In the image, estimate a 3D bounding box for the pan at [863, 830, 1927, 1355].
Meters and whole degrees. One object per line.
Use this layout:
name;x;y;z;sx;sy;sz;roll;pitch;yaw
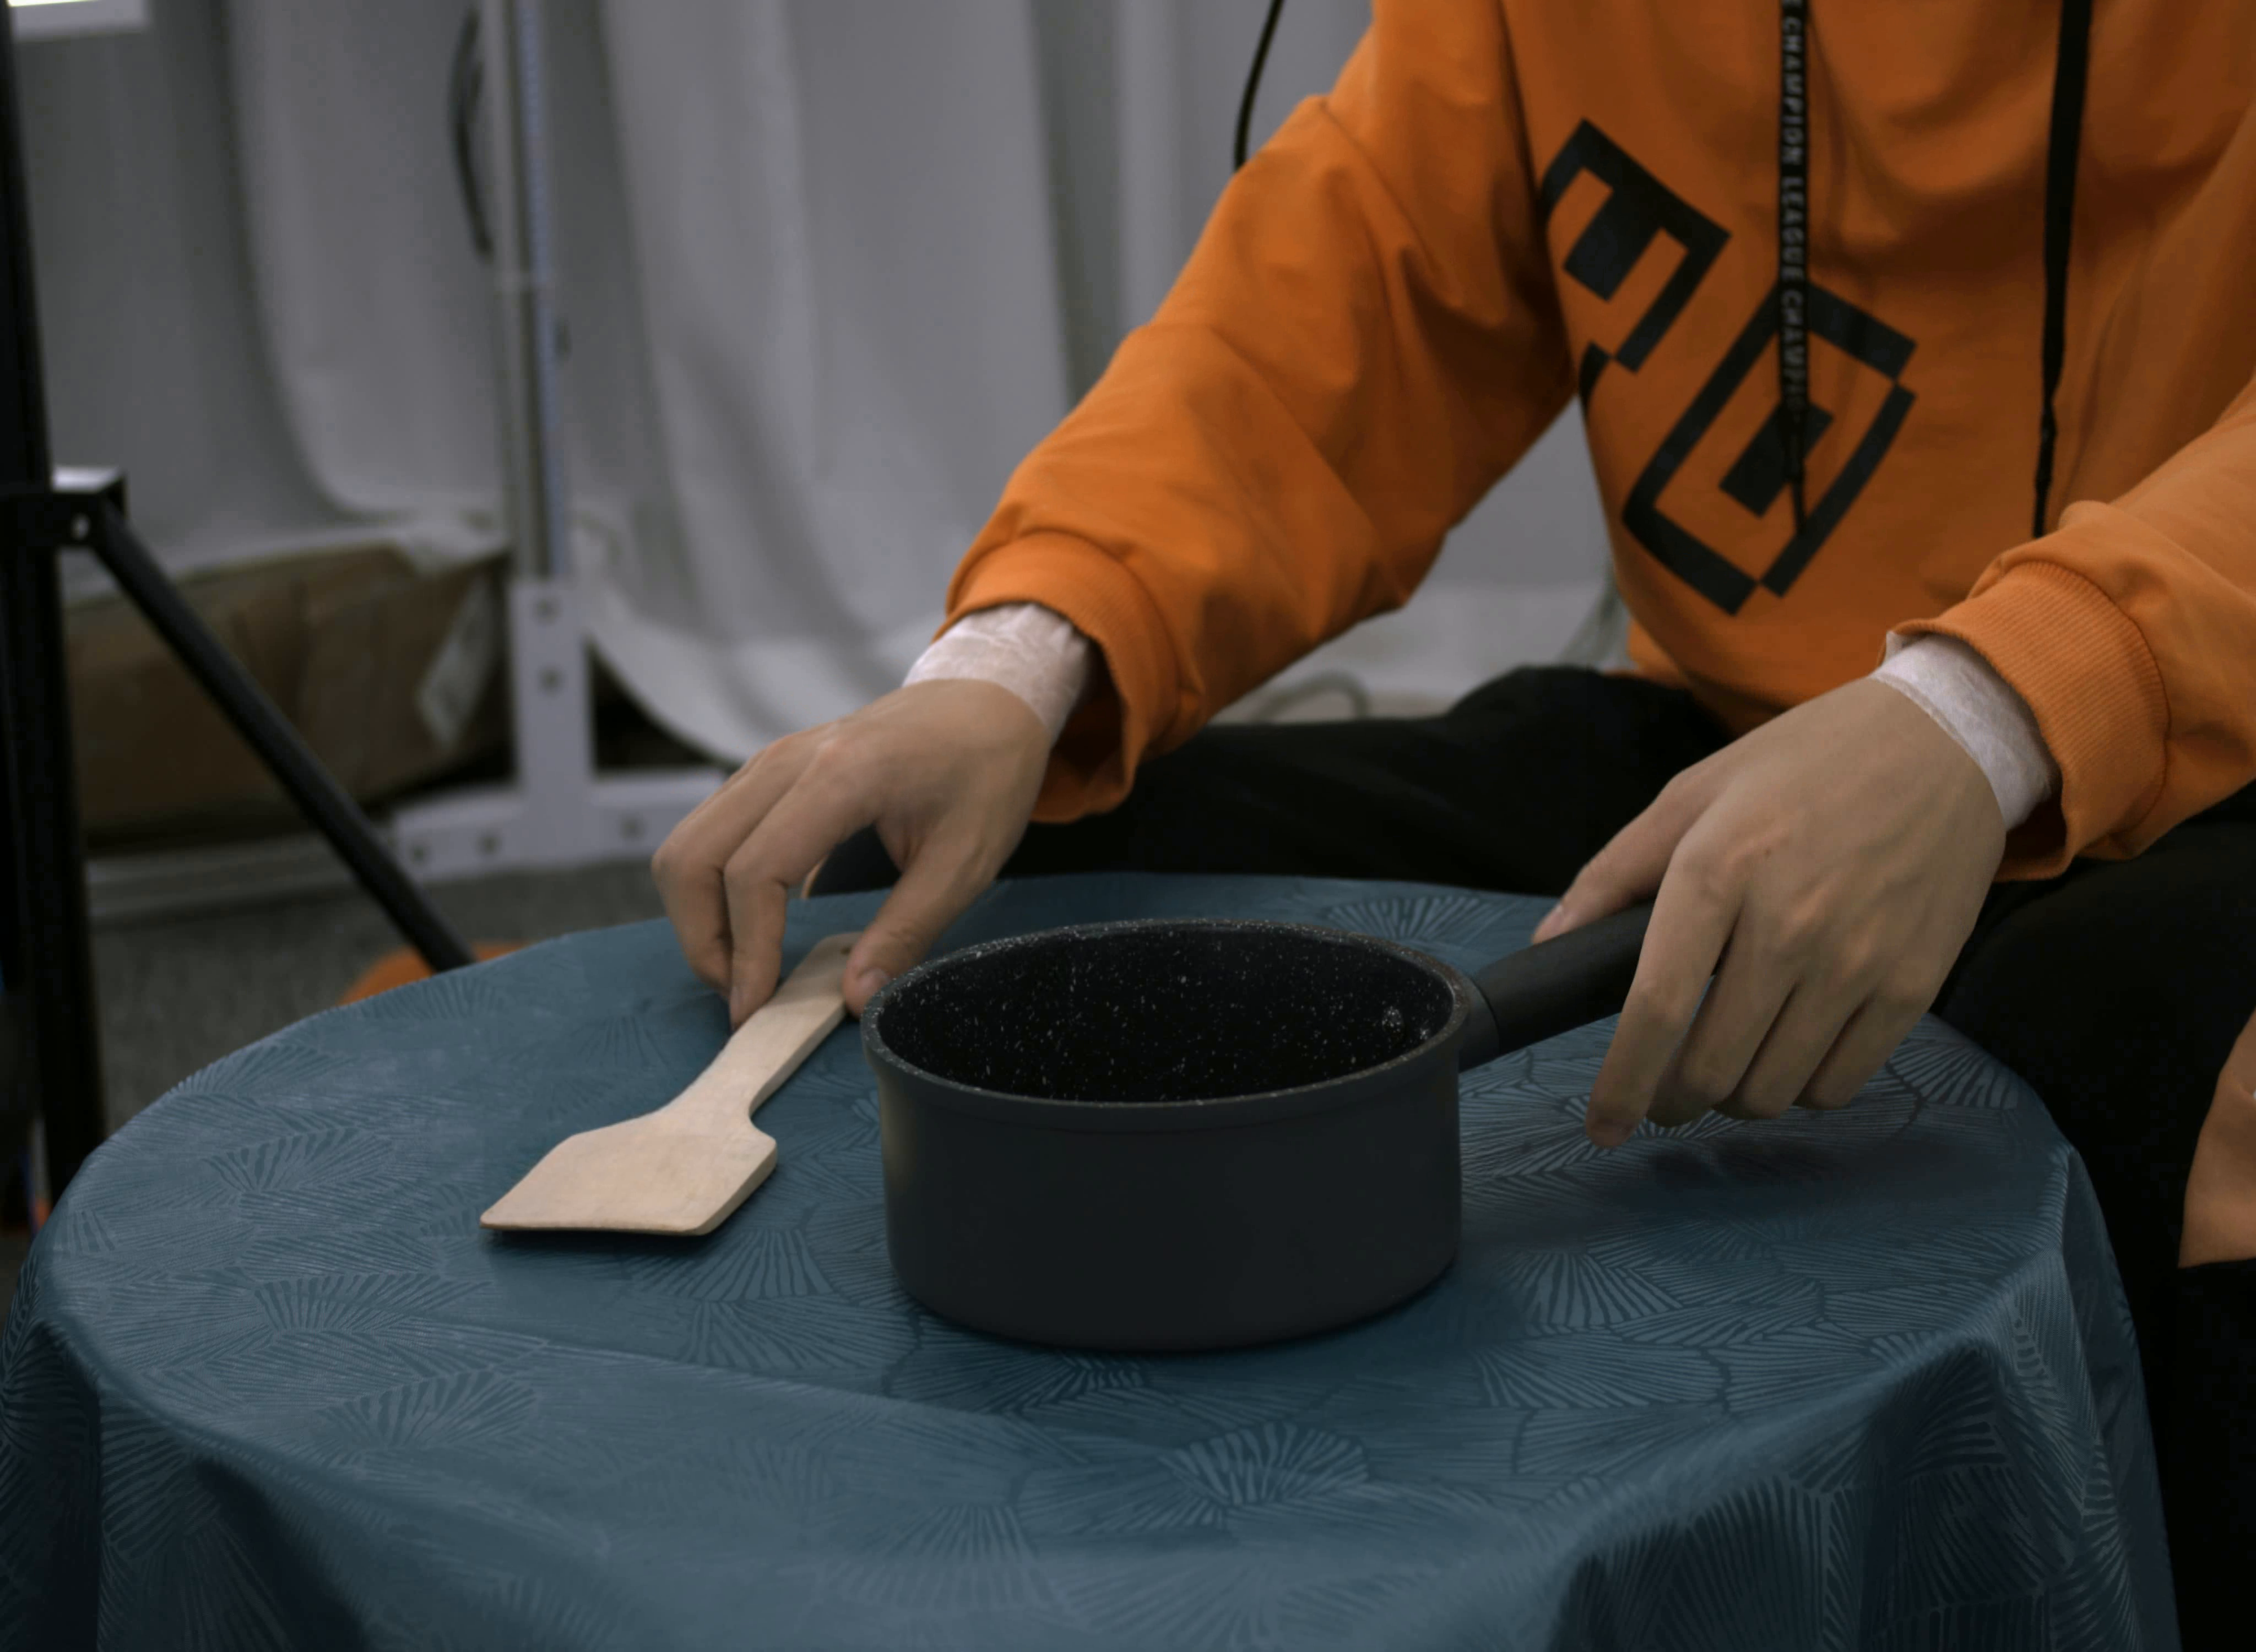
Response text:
pan;0.084;0.071;1.520;0.322;0.086;0.175;-11;18;-21

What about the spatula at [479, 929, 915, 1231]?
spatula;-0.121;0.078;1.667;0.073;0.010;0.290;-2;15;16
